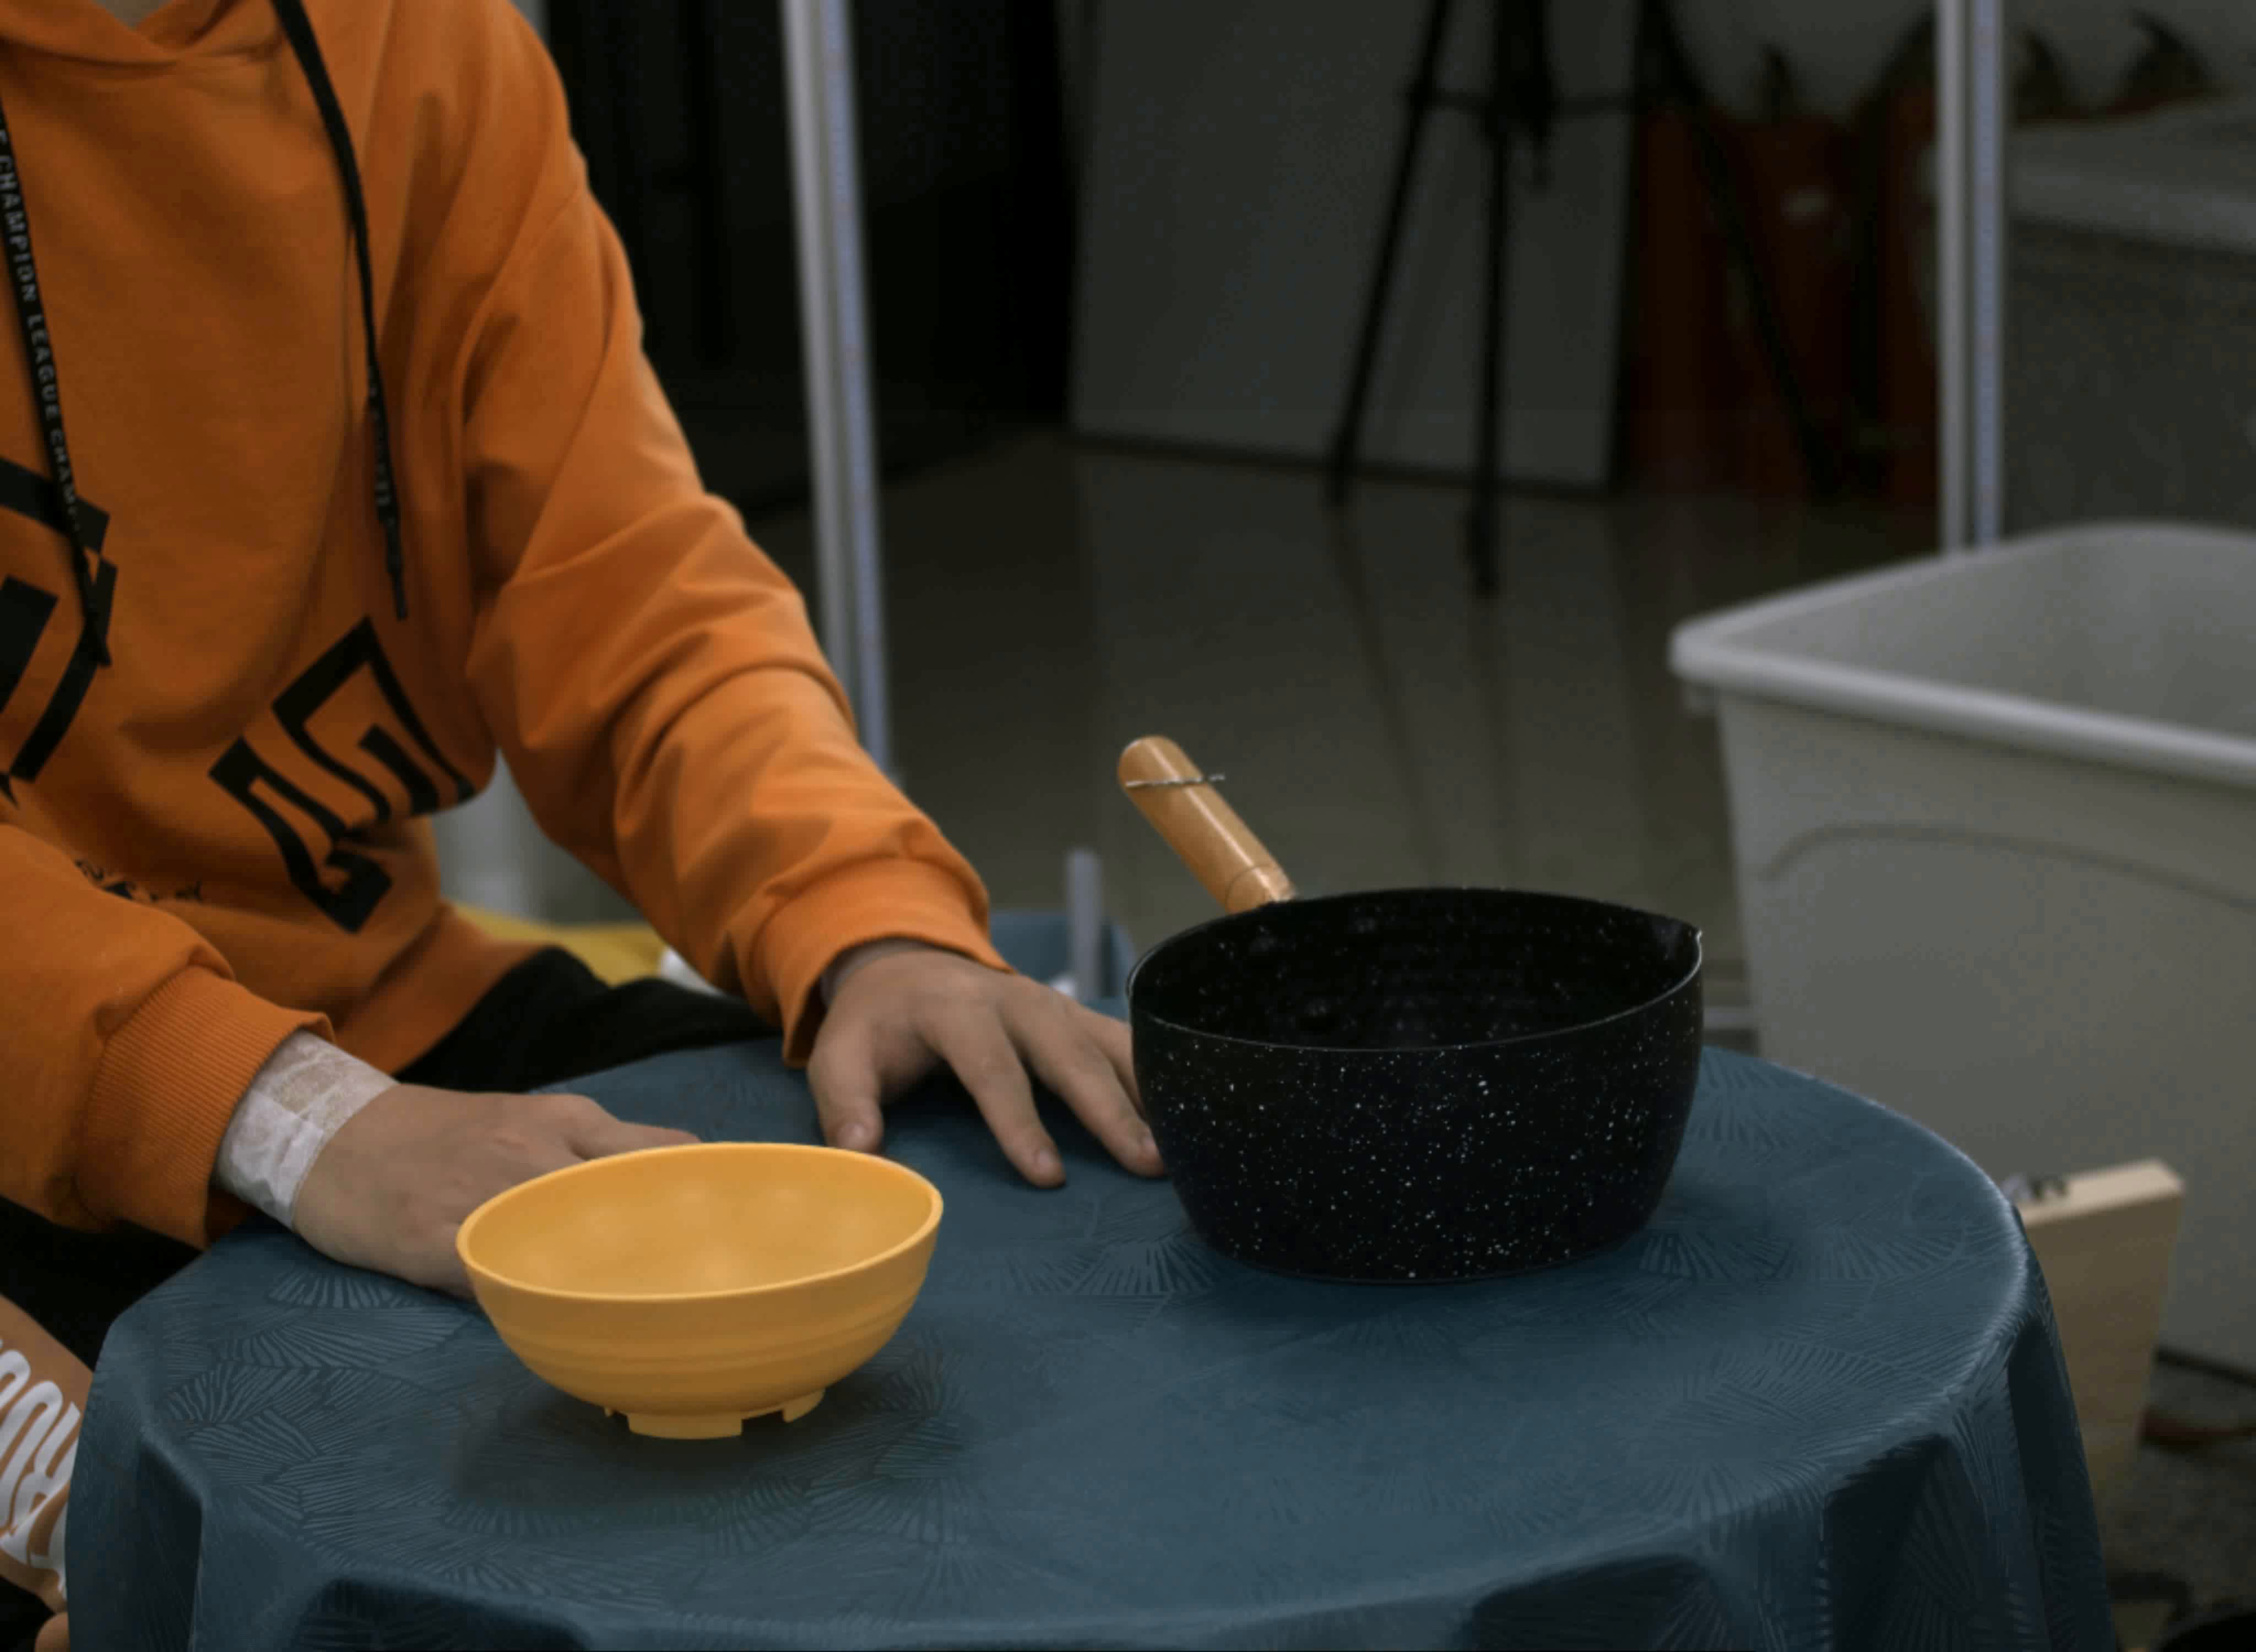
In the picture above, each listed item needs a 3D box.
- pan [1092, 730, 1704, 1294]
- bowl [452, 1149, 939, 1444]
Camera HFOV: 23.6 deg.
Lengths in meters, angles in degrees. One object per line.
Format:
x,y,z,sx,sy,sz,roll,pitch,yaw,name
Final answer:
0.065,0.056,1.789,0.203,0.109,0.346,-10,16,-18,pan
-0.126,0.143,1.596,0.143,0.061,0.145,-3,13,0,bowl
